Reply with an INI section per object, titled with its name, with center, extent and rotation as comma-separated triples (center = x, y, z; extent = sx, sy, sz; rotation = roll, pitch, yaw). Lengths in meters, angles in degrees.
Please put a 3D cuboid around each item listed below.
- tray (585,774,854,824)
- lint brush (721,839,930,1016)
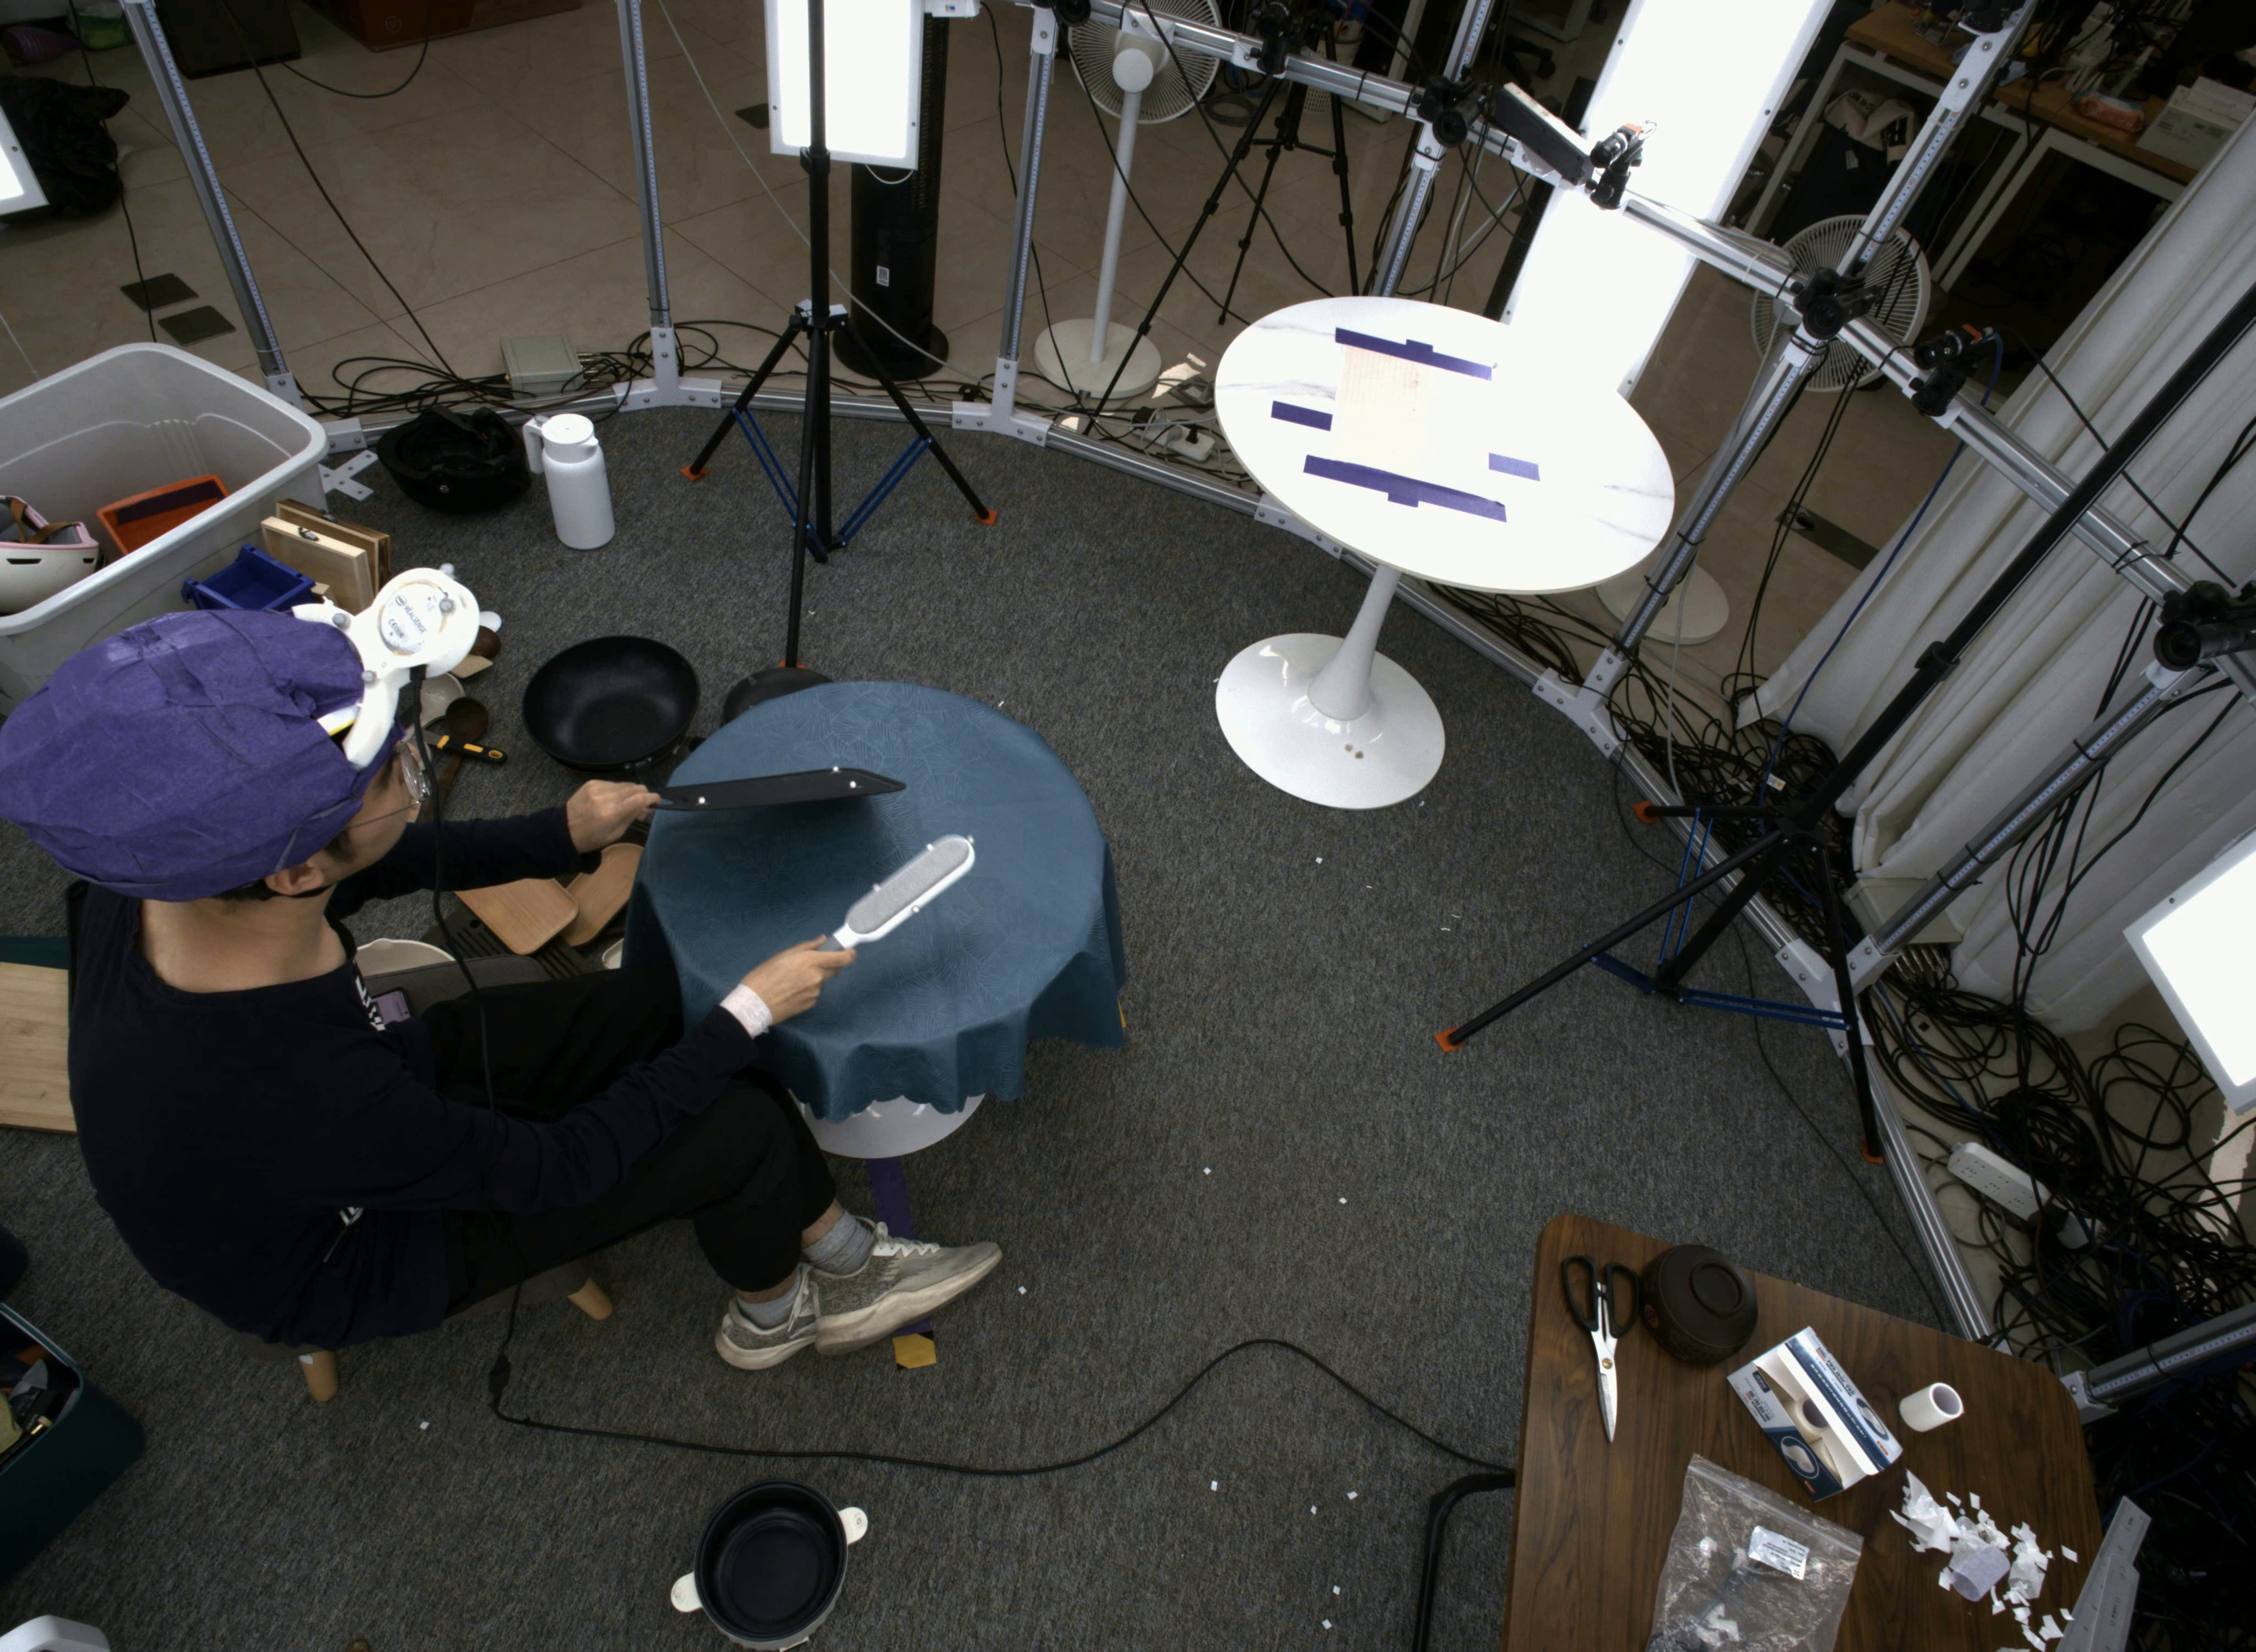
[tray]
center = -0.519, -0.038, 1.616
extent = 0.329, 0.010, 0.204
rotation = -11, 14, -35
[lint brush]
center = -0.361, 0.117, 1.551
extent = 0.309, 0.021, 0.058
rotation = -41, 55, -19
